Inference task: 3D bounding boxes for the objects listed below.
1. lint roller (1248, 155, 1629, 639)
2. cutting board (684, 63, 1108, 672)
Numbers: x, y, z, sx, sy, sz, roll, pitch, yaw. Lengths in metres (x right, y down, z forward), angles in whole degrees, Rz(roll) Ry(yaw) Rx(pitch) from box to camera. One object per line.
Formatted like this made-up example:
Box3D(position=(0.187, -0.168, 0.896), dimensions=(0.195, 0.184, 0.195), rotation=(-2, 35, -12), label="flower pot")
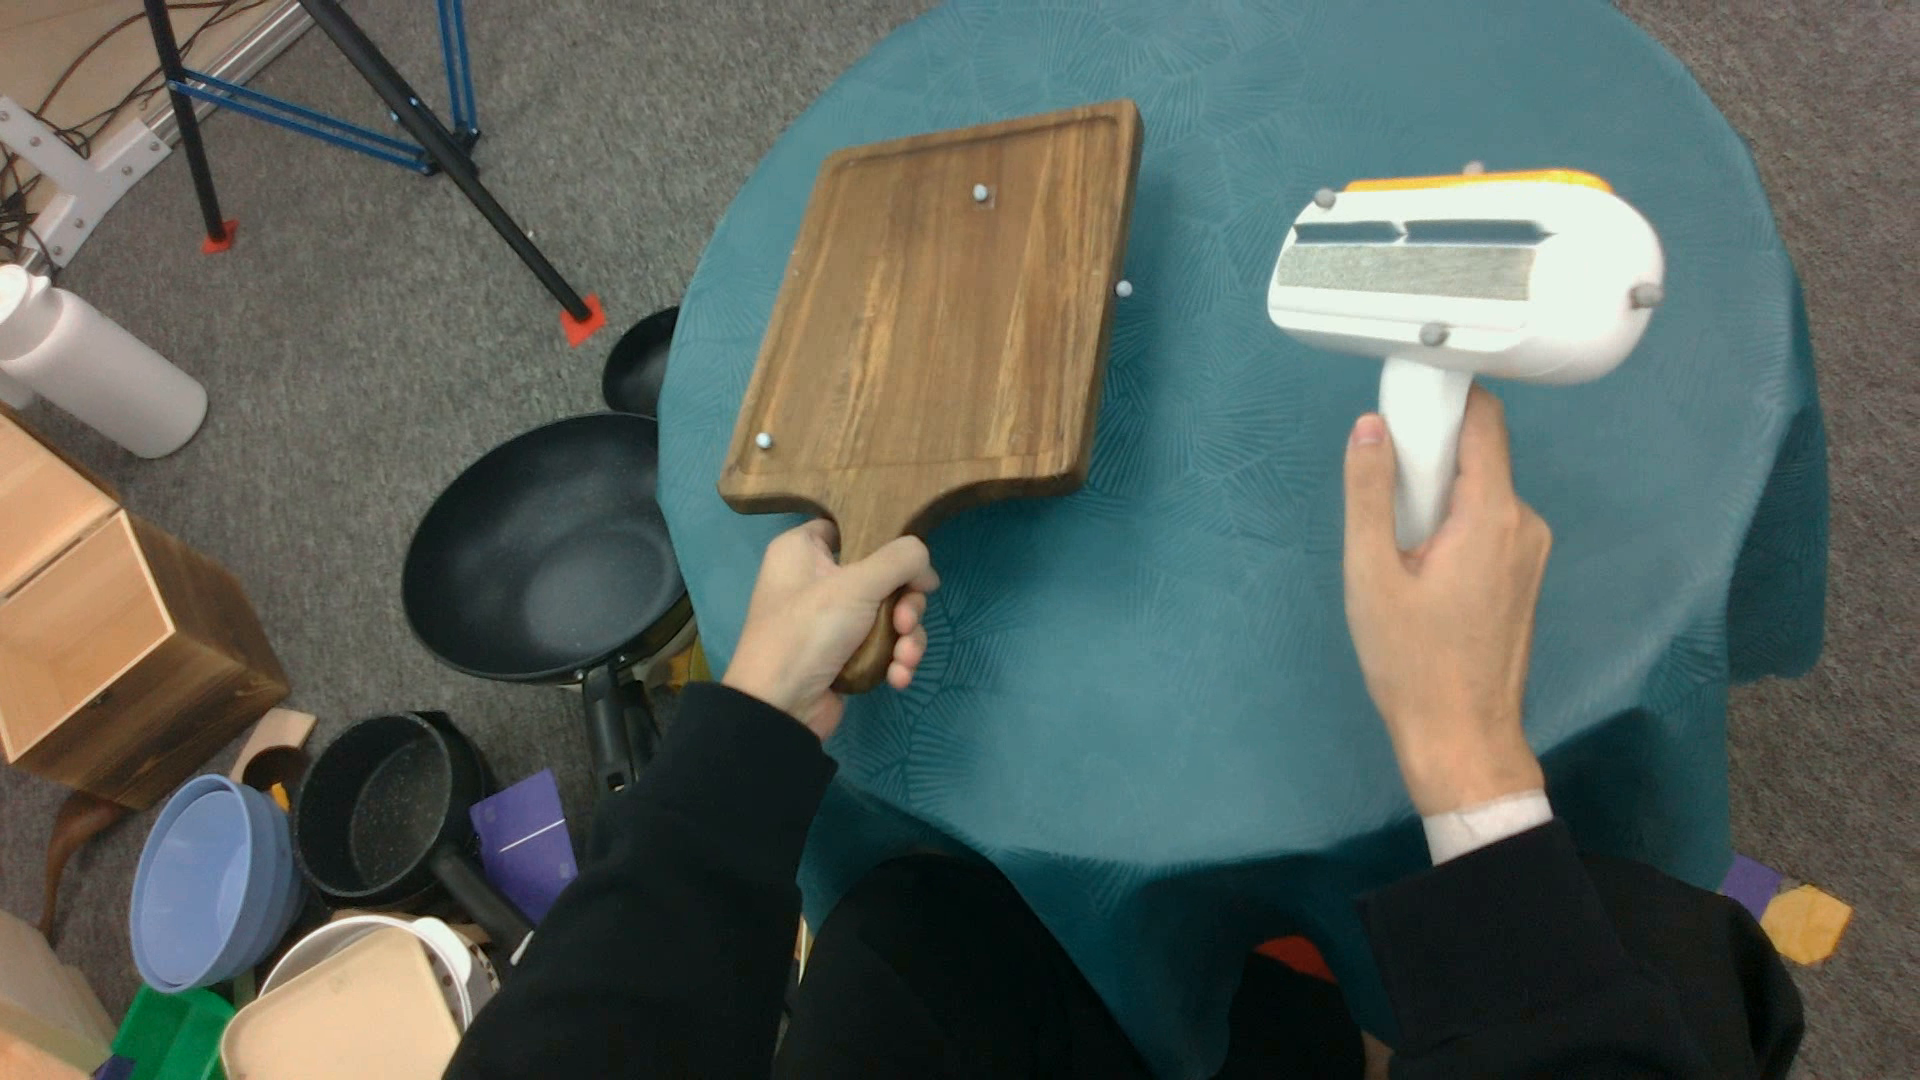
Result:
Box3D(position=(0.171, -0.053, 0.551), dimensions=(0.193, 0.074, 0.192), rotation=(-139, 58, -64), label="lint roller")
Box3D(position=(-0.037, -0.098, 0.698), dimensions=(0.200, 0.023, 0.353), rotation=(-2, 60, 22), label="cutting board")
